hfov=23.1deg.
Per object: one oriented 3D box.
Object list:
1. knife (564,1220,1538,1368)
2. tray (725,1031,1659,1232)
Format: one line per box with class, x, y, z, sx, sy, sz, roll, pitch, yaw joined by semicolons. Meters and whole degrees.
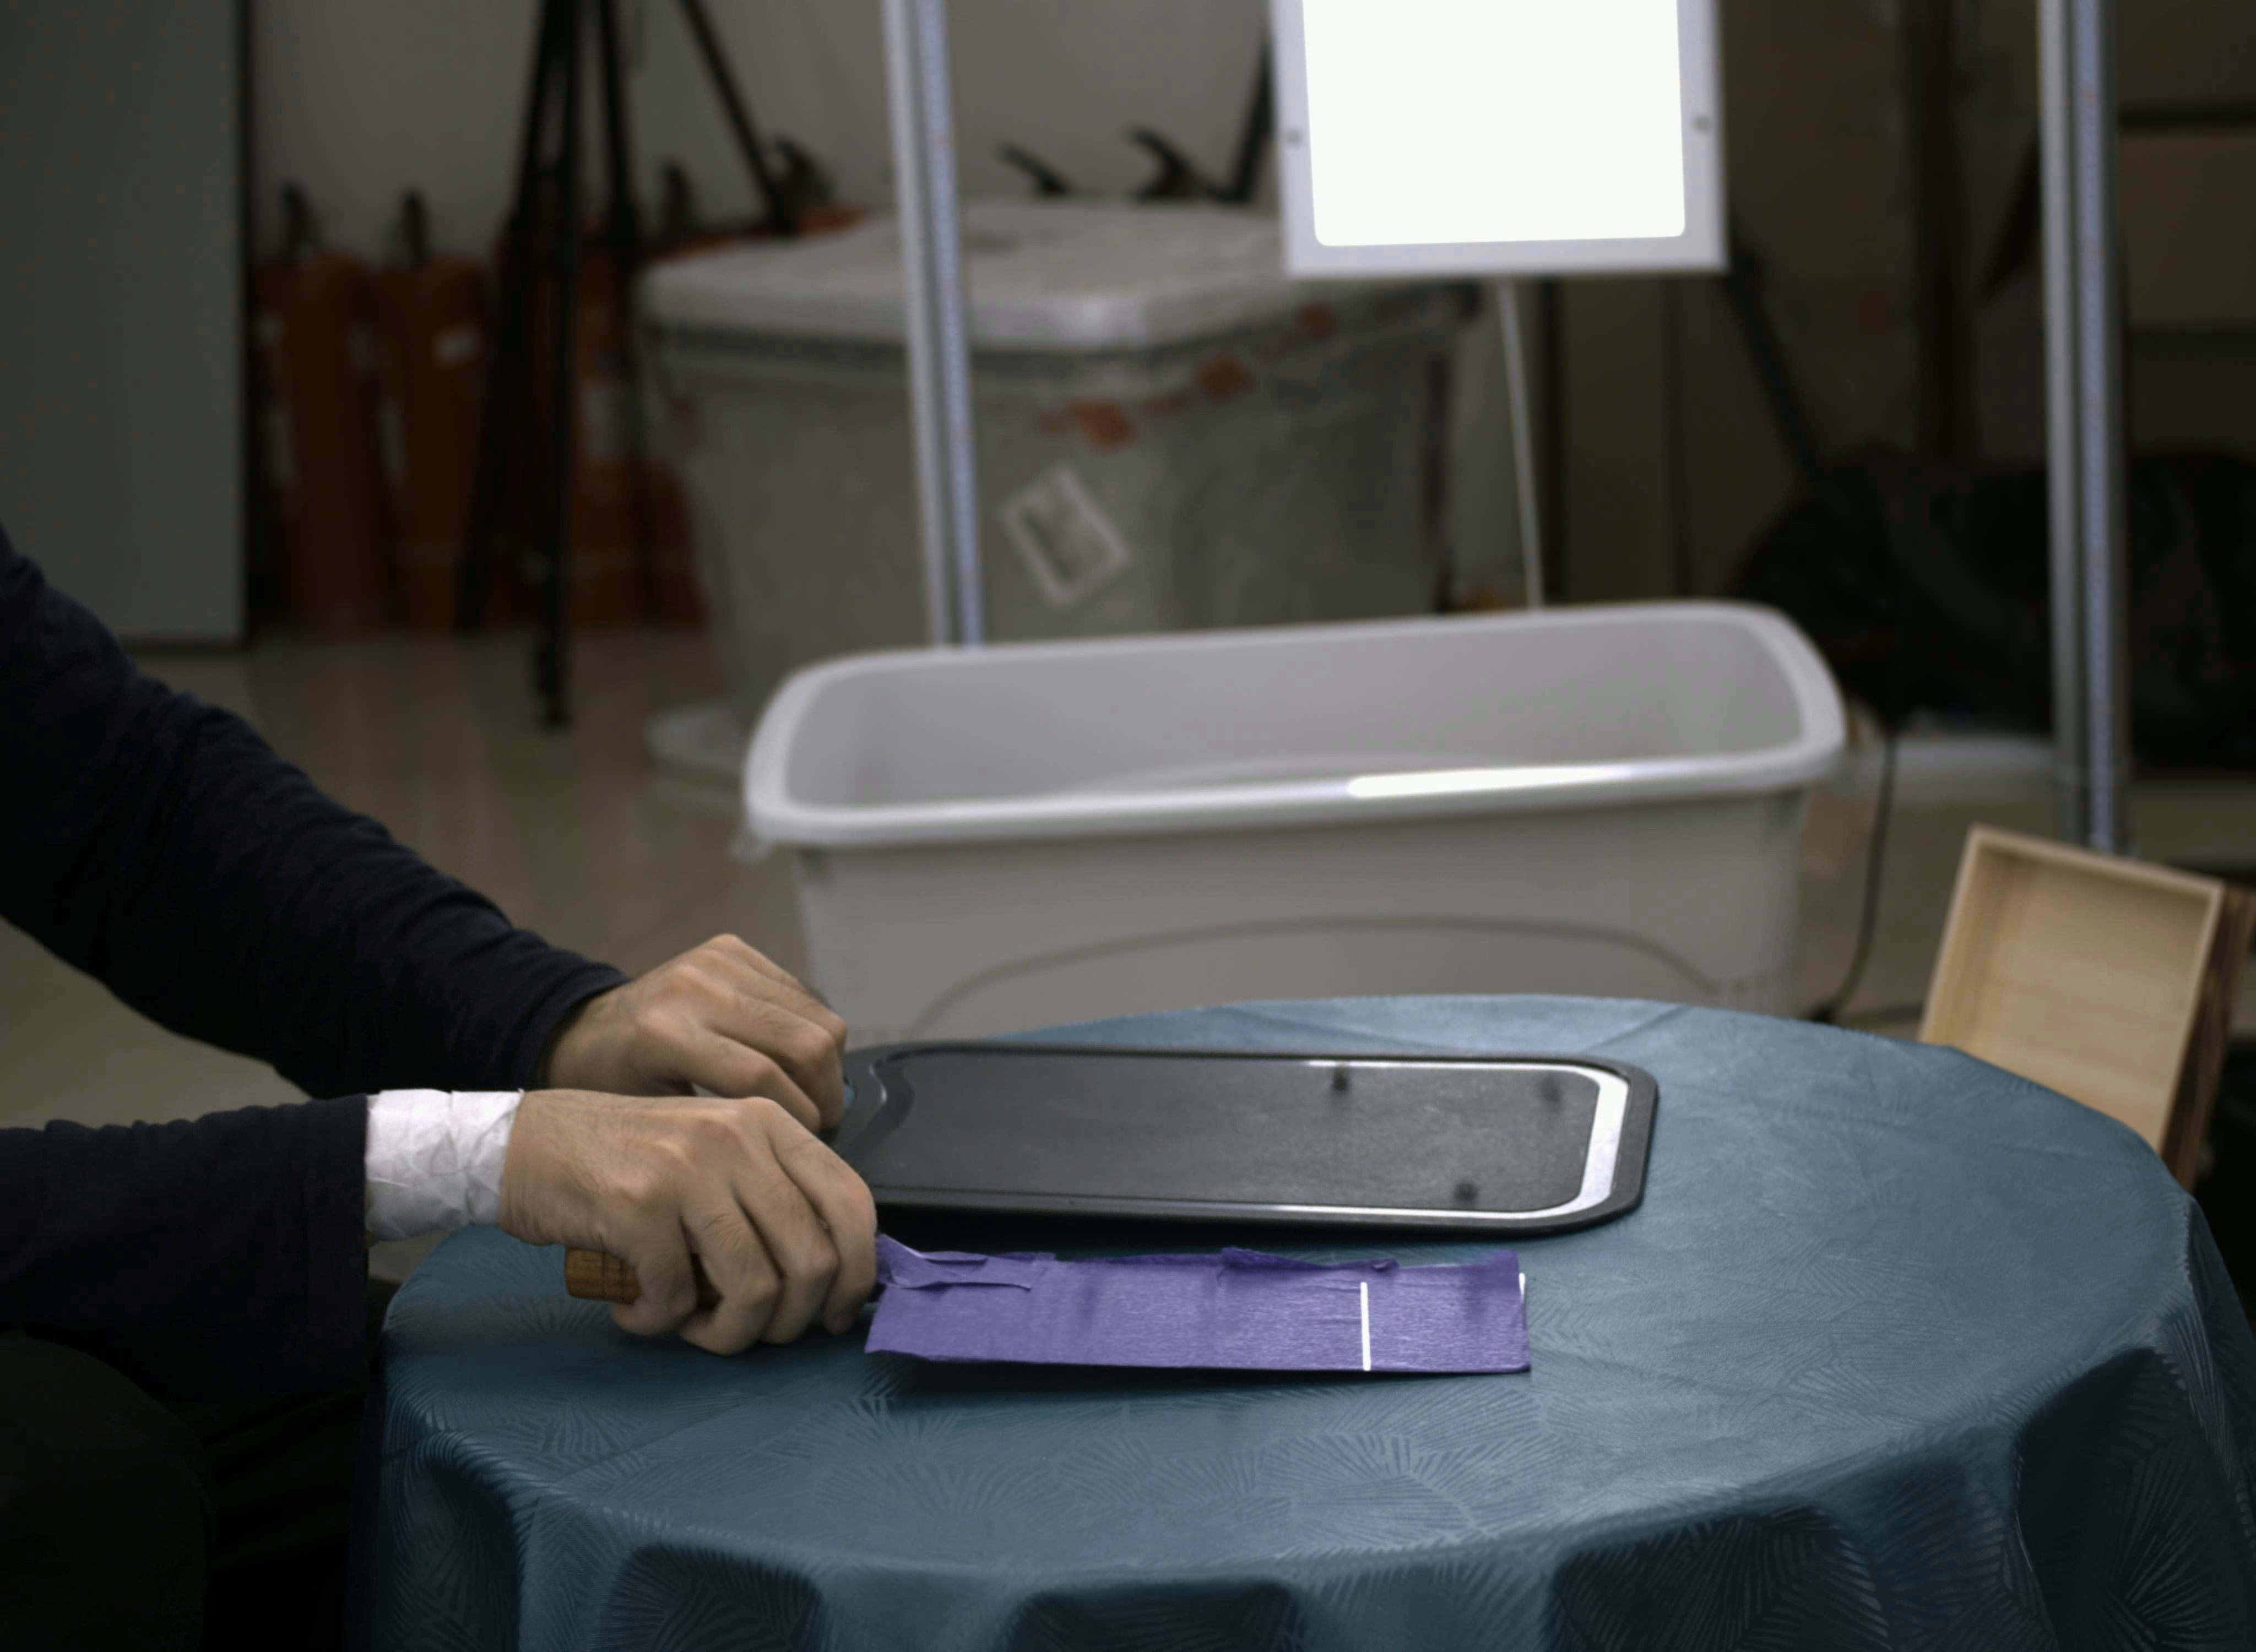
knife;-0.028;0.148;1.746;0.316;0.032;0.103;-1;14;6
tray;0.021;0.103;1.931;0.327;0.010;0.209;2;14;11
